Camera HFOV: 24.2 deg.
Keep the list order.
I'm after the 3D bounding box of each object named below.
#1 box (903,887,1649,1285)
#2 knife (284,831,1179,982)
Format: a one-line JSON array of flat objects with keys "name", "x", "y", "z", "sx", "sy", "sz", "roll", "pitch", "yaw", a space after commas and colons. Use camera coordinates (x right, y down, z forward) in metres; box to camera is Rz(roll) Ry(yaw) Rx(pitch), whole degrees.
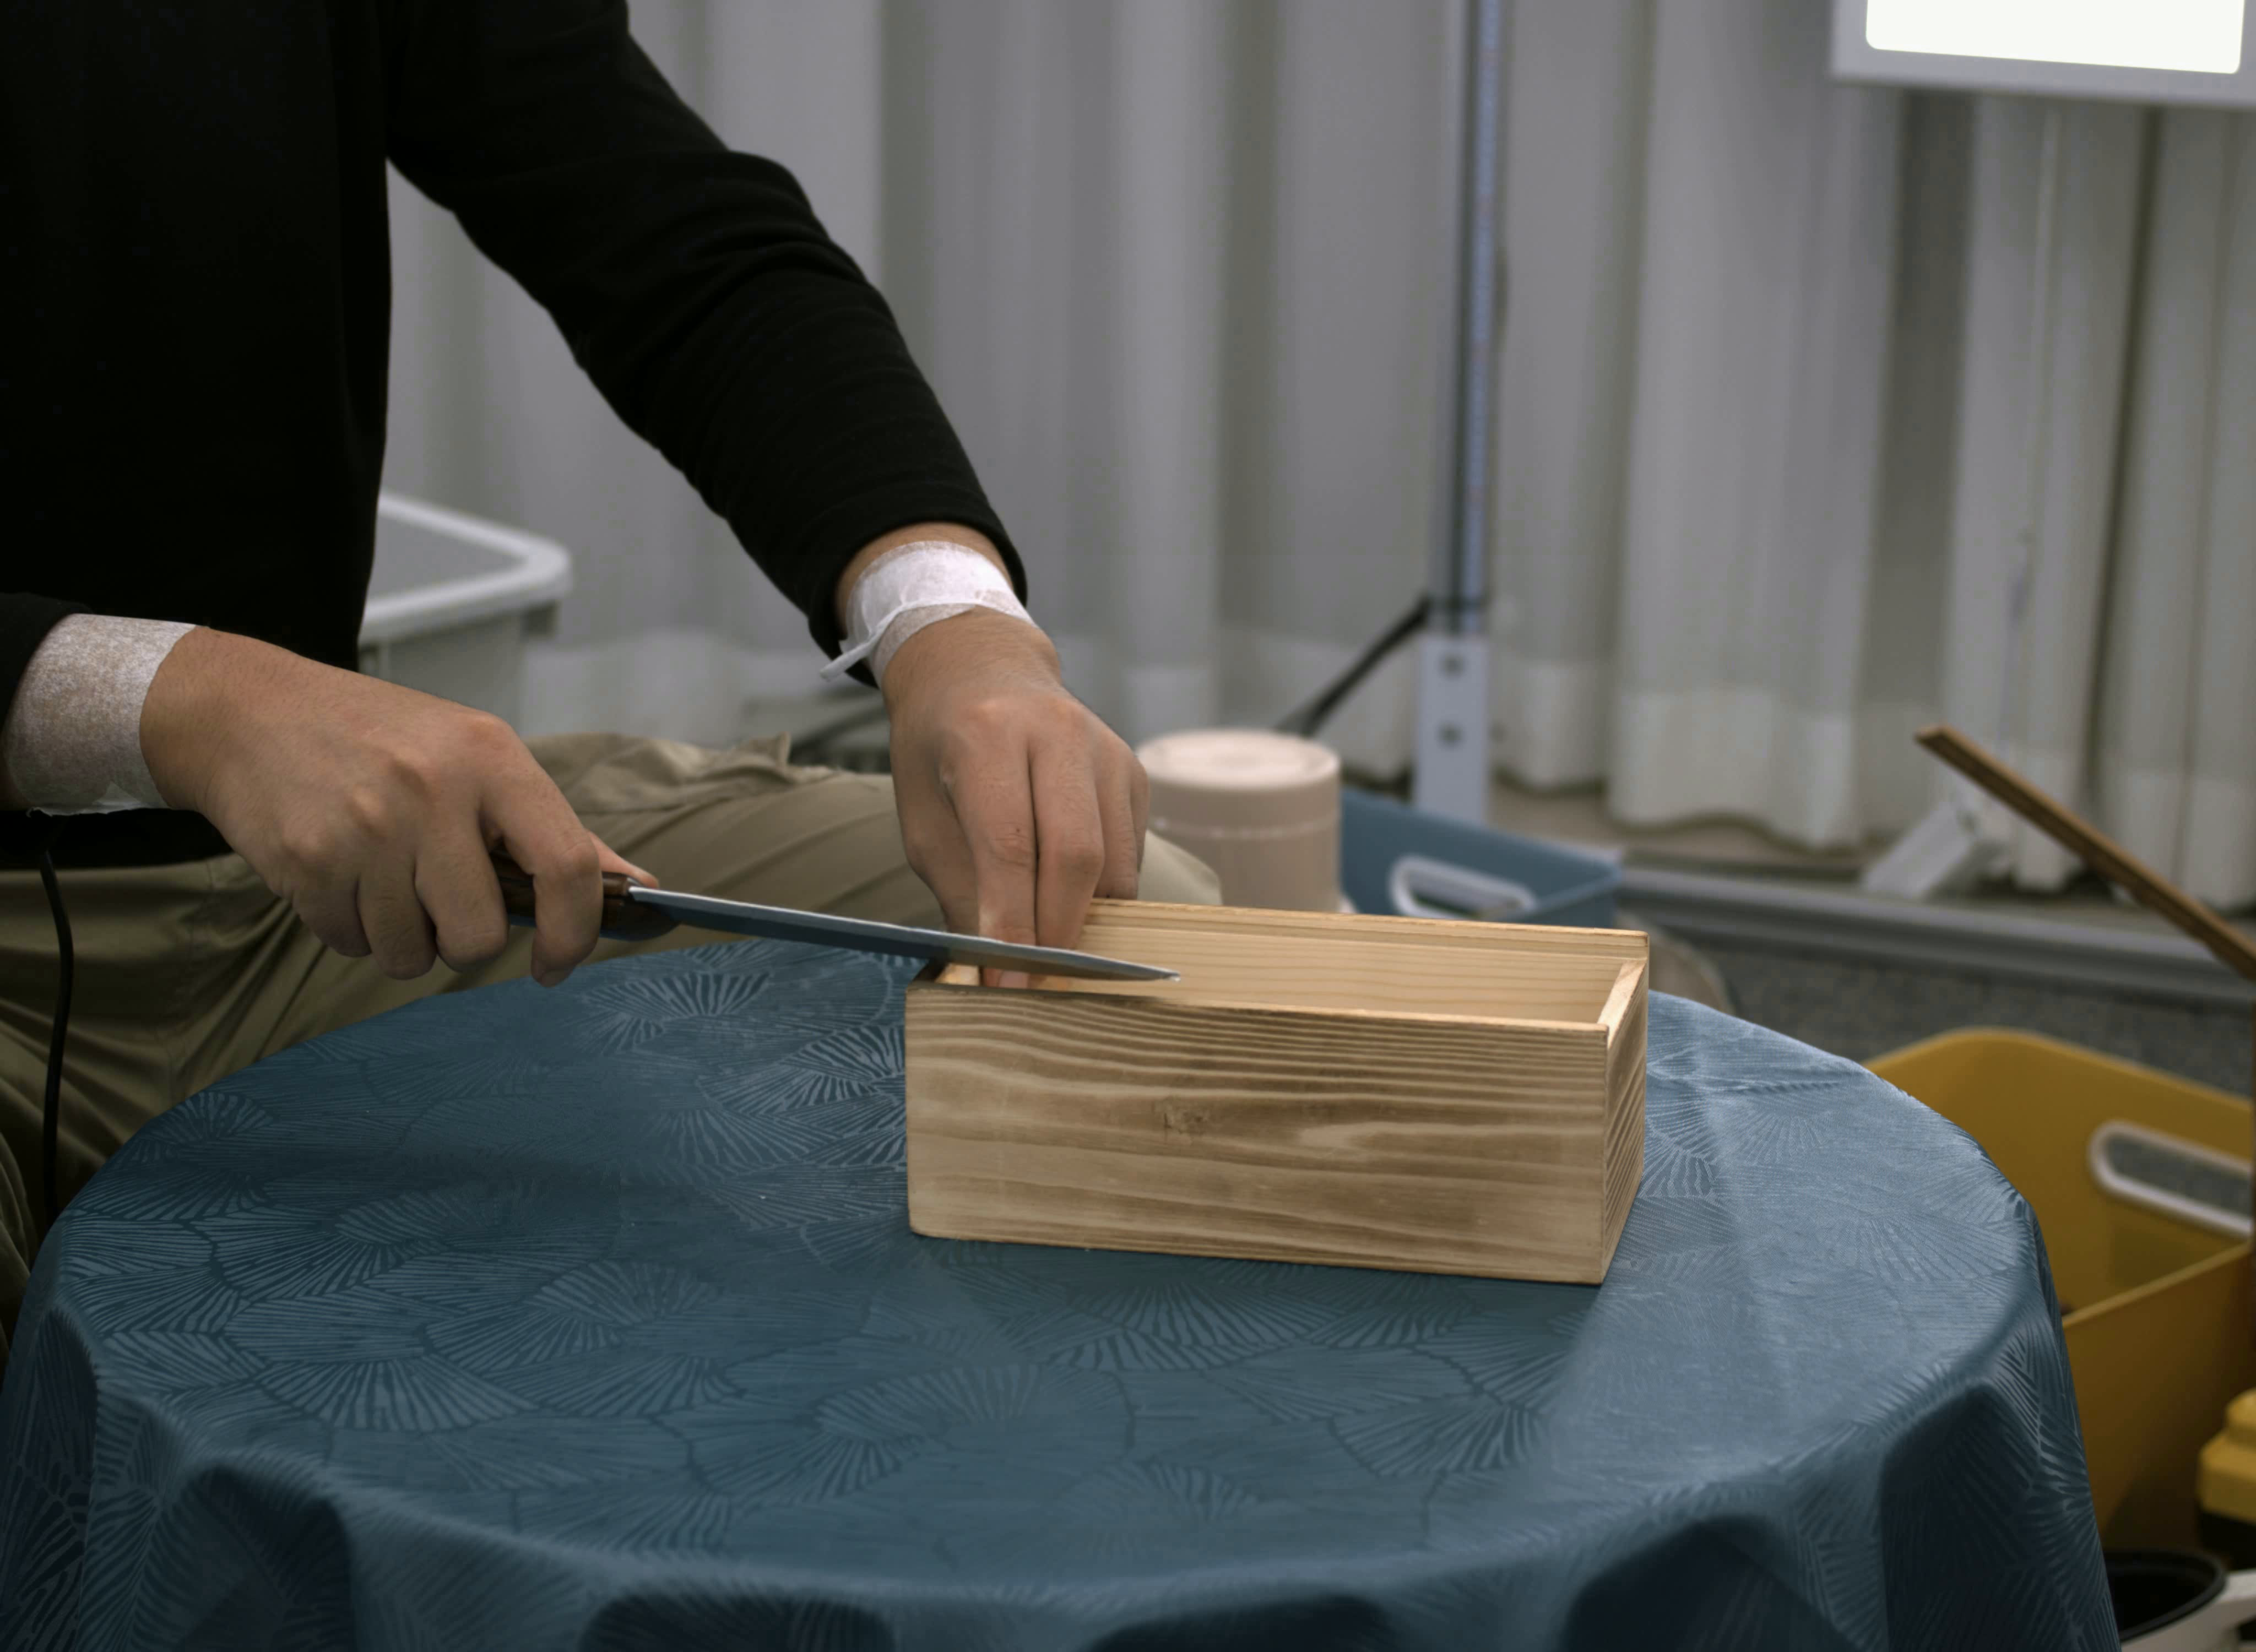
[{"name": "box", "x": 0.046, "y": 0.077, "z": 1.600, "sx": 0.210, "sy": 0.081, "sz": 0.107, "roll": 4, "pitch": 15, "yaw": 10}, {"name": "knife", "x": -0.122, "y": 0.028, "z": 1.576, "sx": 0.287, "sy": 0.020, "sz": 0.050, "roll": 7, "pitch": -11, "yaw": 14}]
